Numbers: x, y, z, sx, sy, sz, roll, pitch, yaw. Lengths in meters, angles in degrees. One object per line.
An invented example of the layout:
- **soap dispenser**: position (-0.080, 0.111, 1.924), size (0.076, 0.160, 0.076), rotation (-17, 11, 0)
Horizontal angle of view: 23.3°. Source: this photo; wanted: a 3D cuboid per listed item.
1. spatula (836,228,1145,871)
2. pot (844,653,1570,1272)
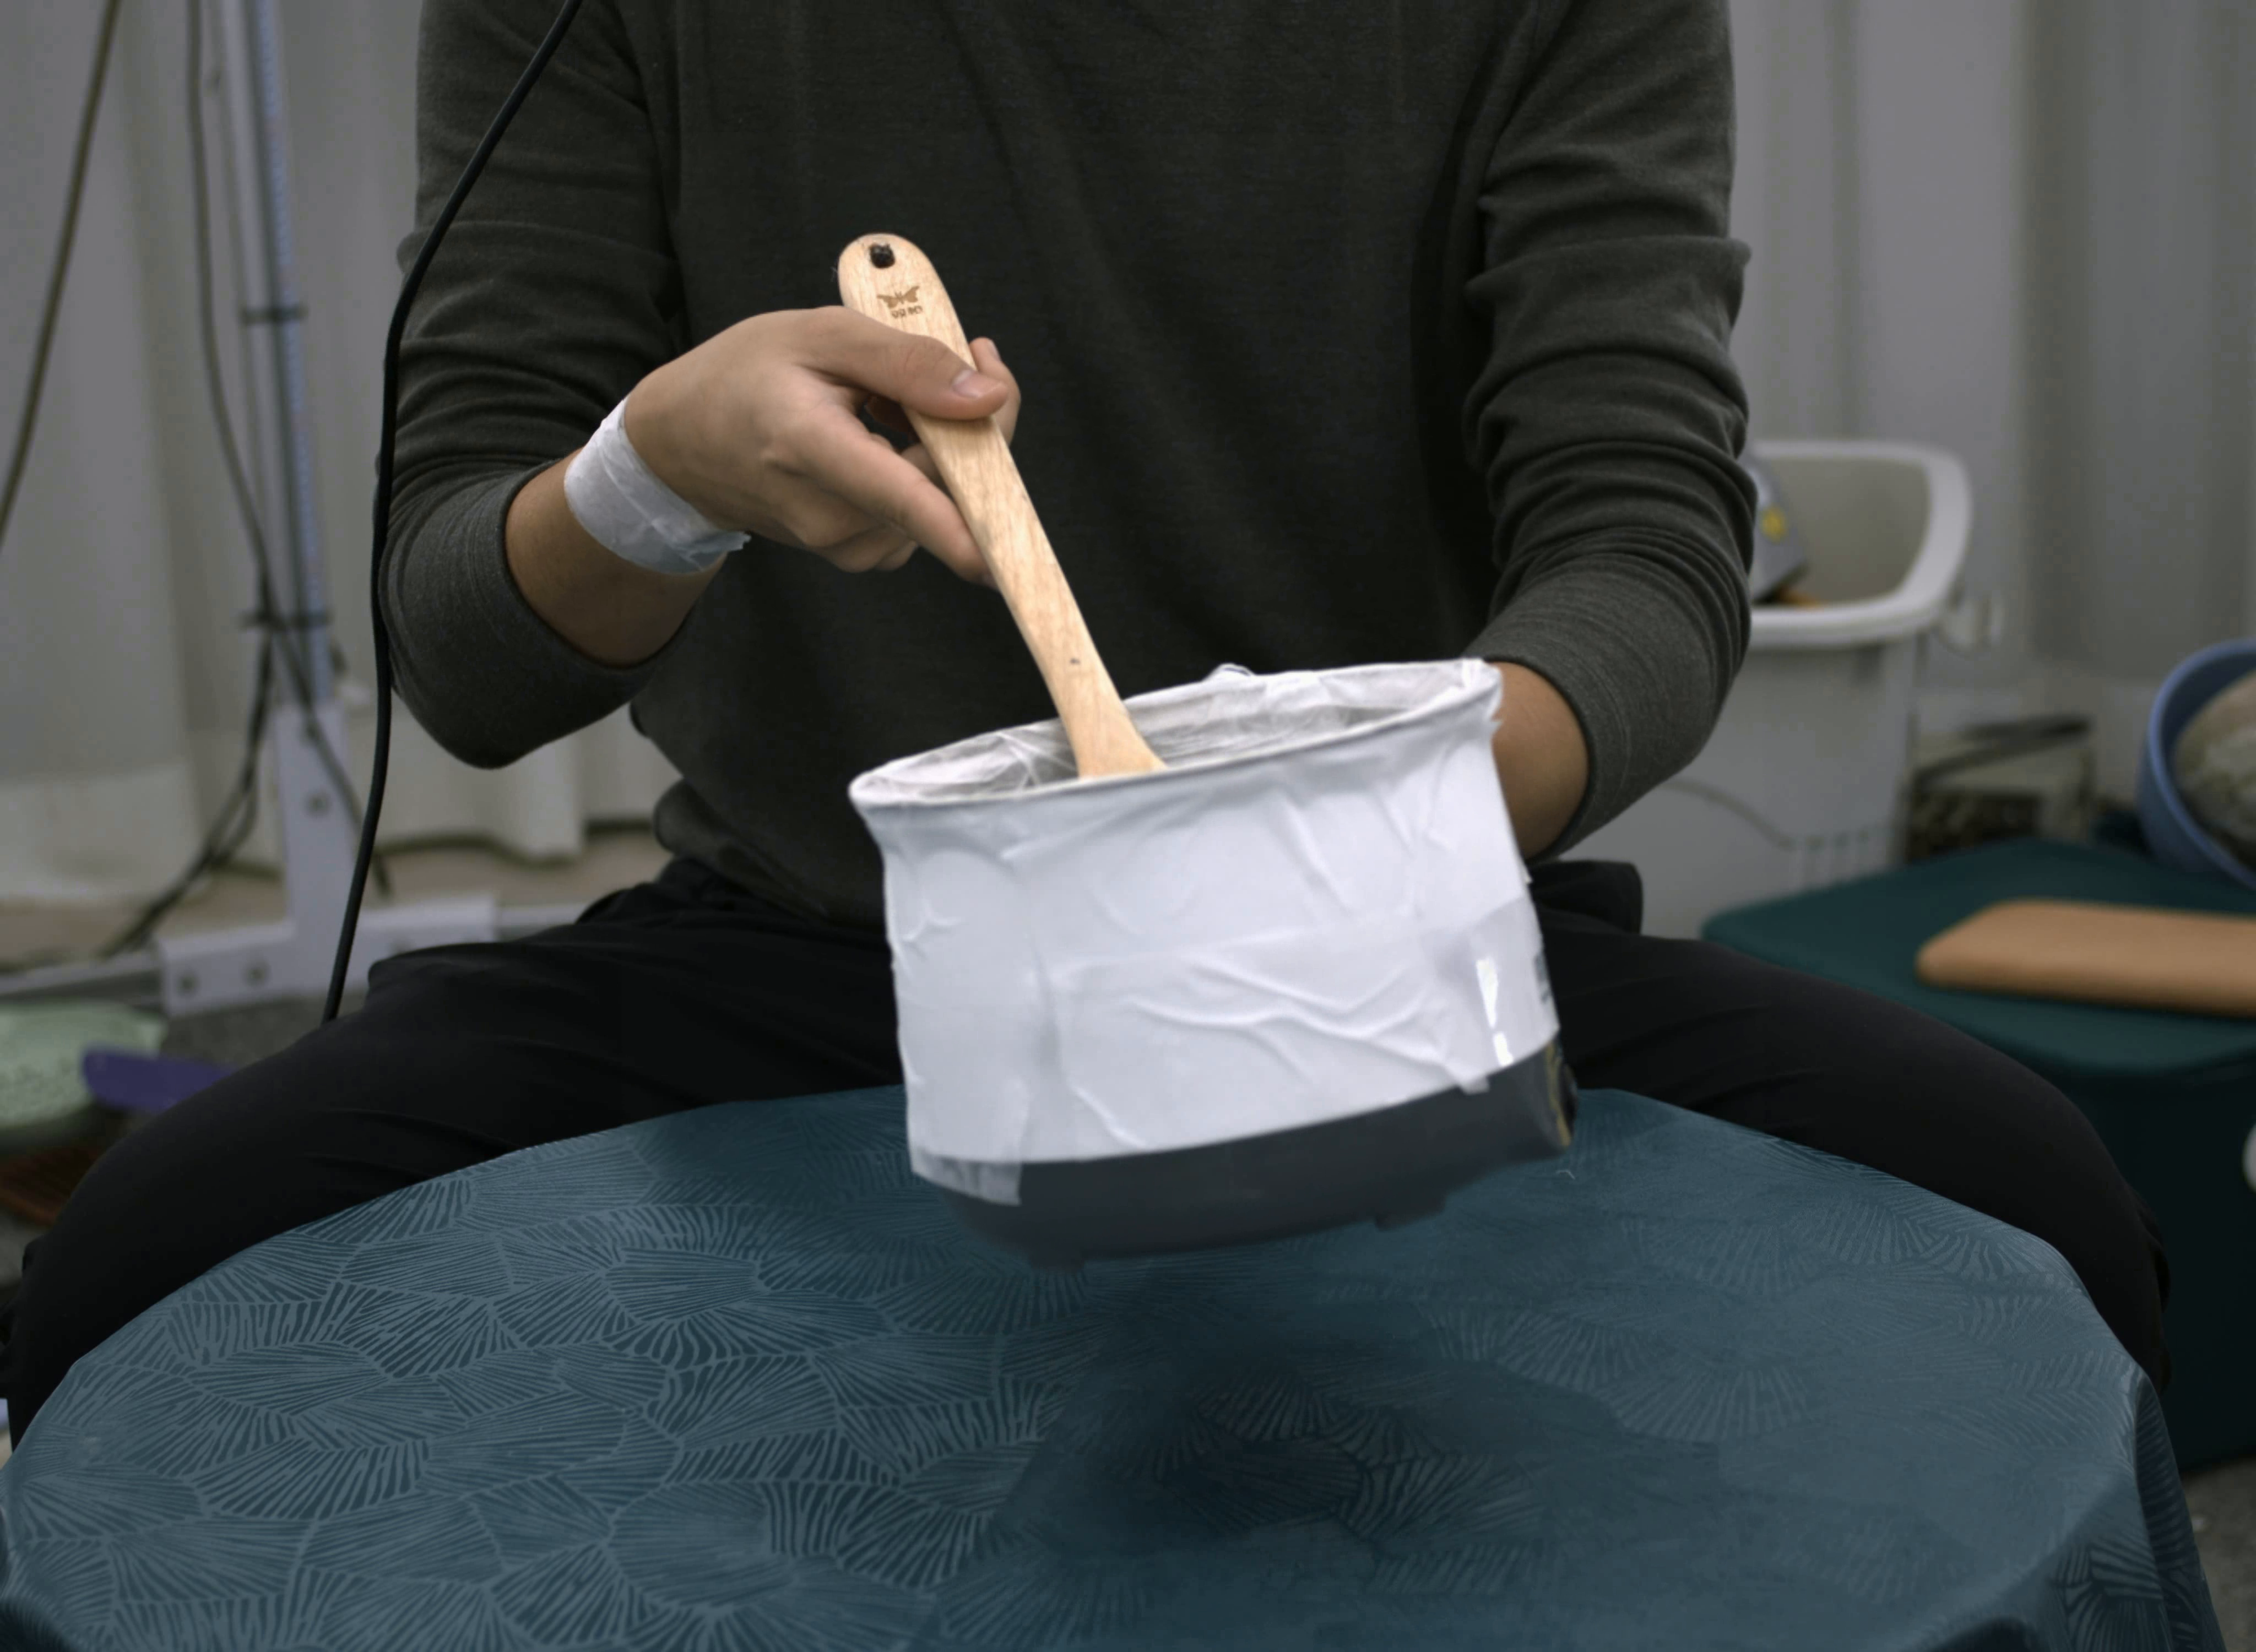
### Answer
- **spatula**: position (-0.030, -0.063, 1.563), size (0.095, 0.018, 0.397), rotation (-12, 42, -11)
- **pot**: position (0.025, 0.030, 1.487), size (0.178, 0.136, 0.234), rotation (-8, 8, 9)
